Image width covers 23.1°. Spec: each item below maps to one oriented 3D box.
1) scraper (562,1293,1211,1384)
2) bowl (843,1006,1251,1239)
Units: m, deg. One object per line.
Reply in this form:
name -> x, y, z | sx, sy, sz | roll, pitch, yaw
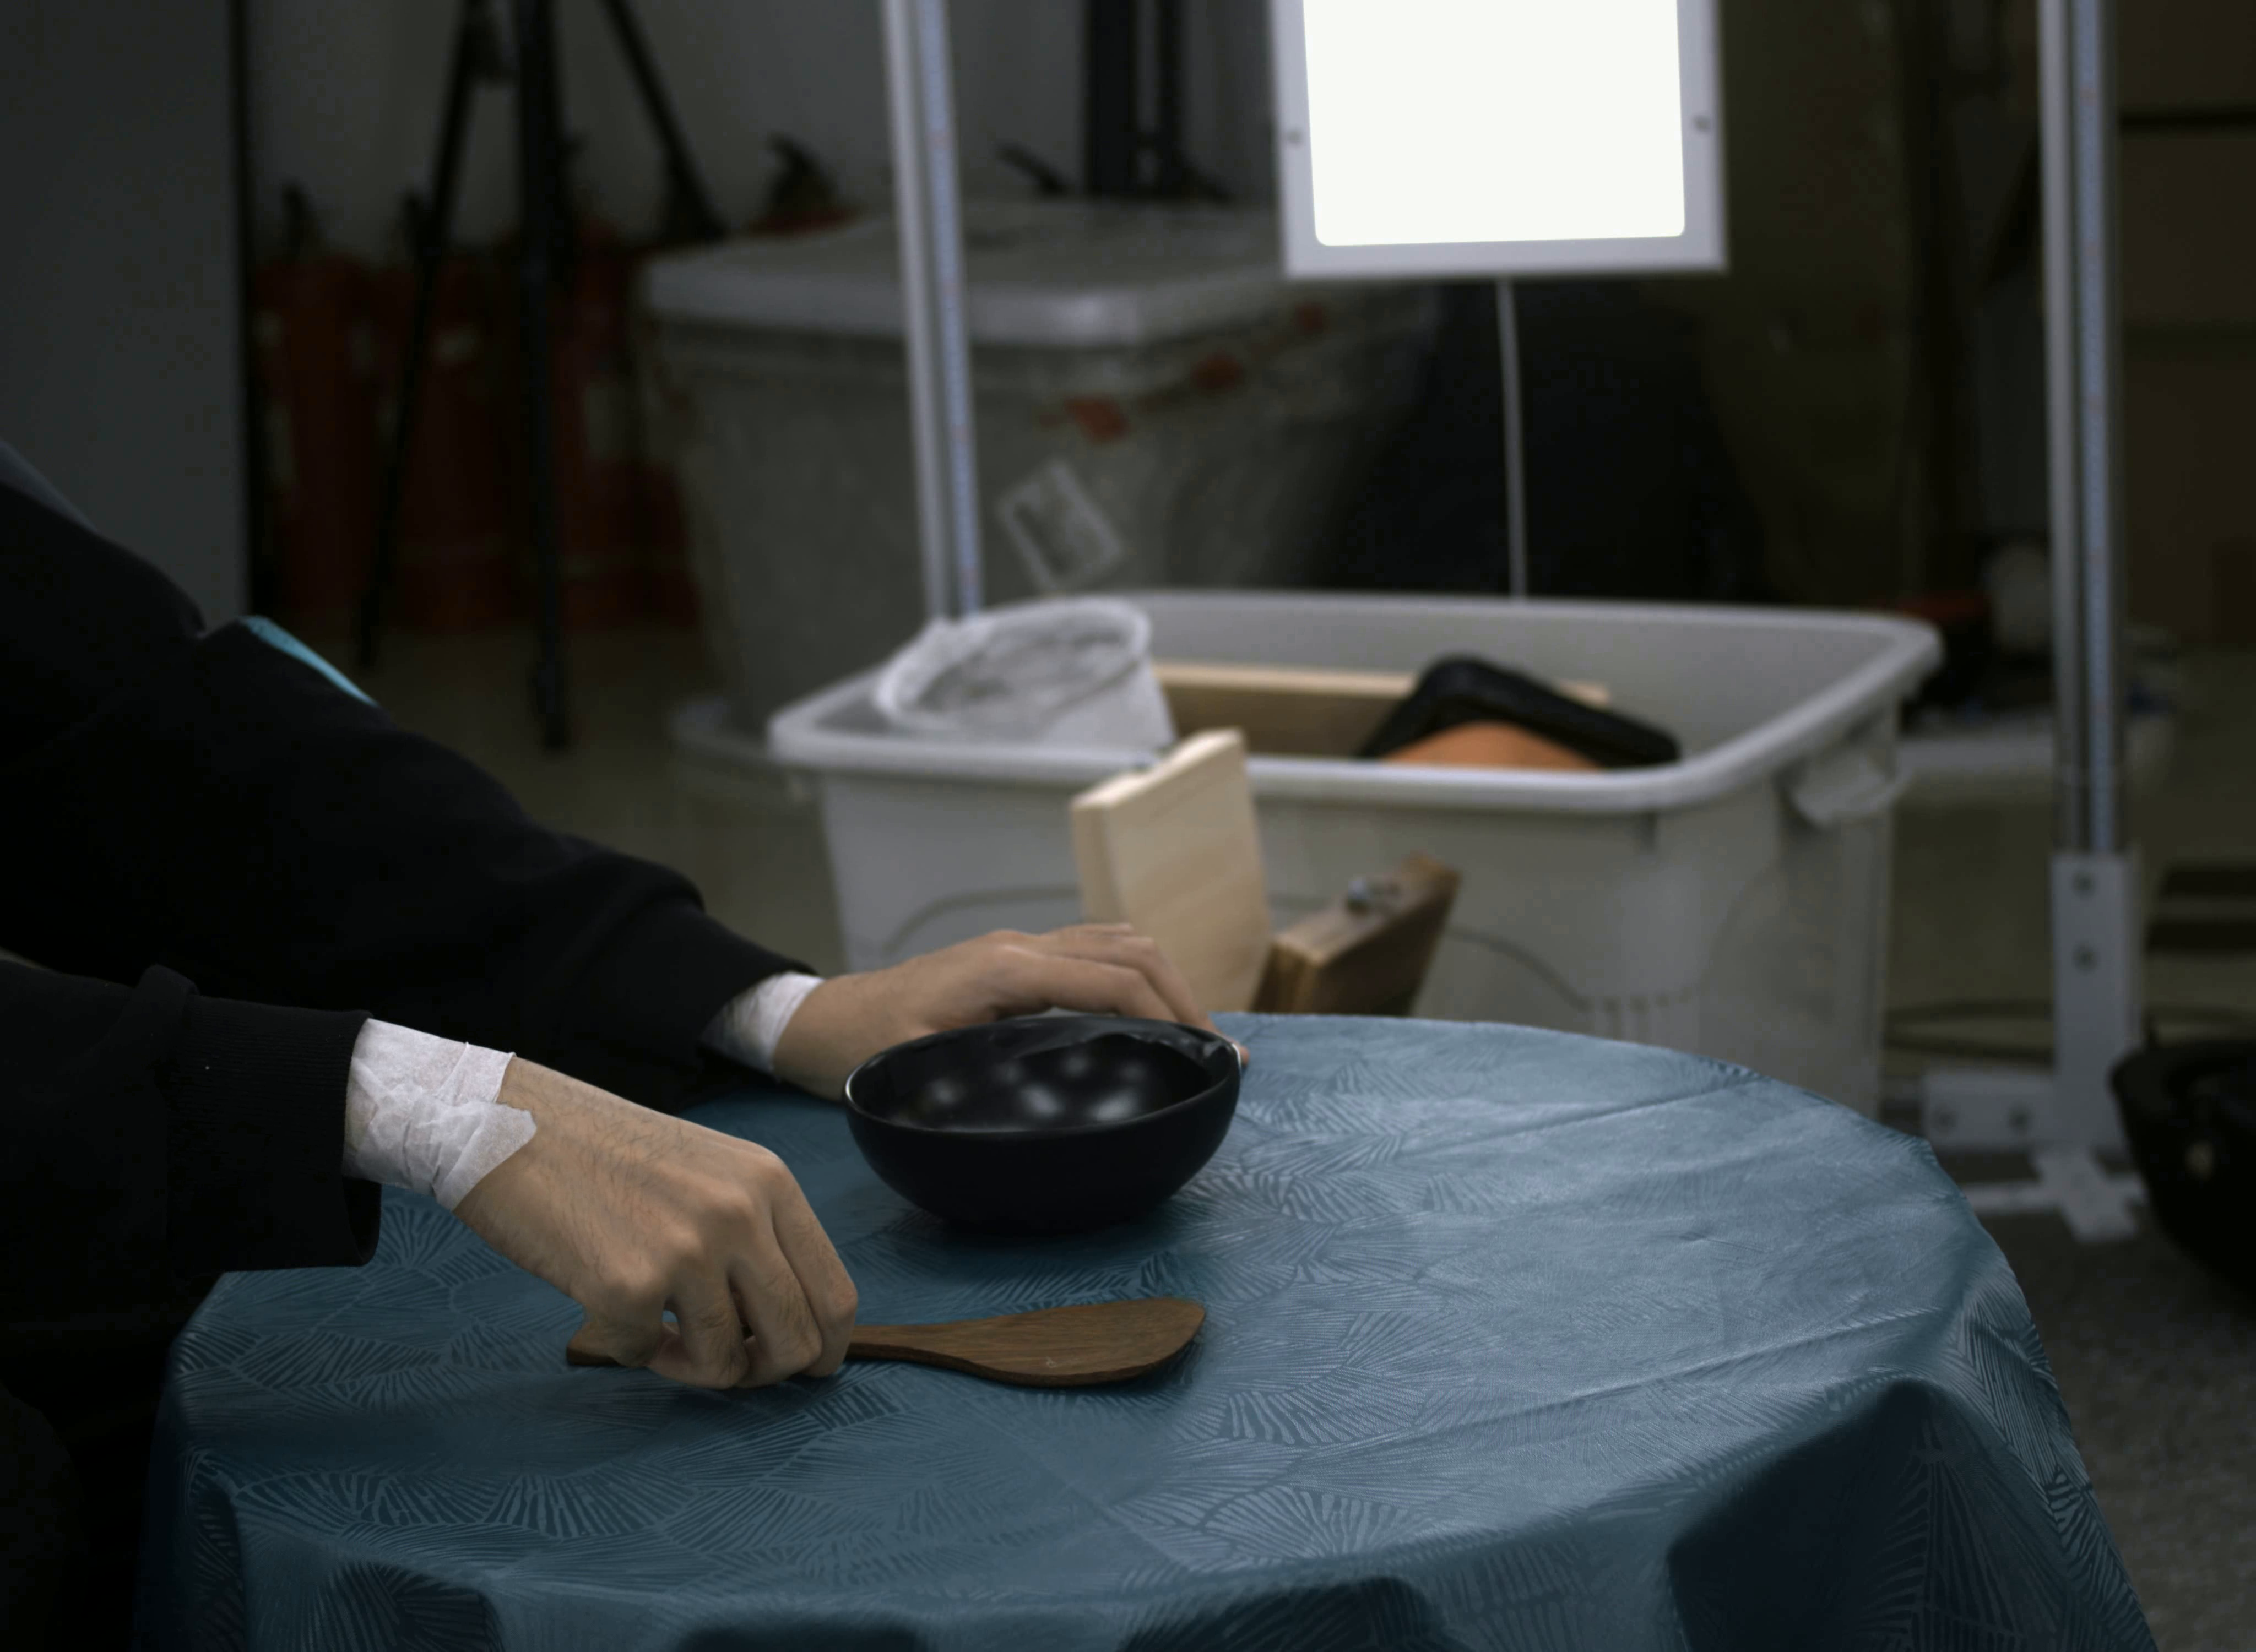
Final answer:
scraper -> -0.078, 0.164, 1.756 | 0.213, 0.011, 0.075 | -2, 12, 16
bowl -> -0.027, 0.106, 1.886 | 0.139, 0.050, 0.140 | -4, 17, 0
